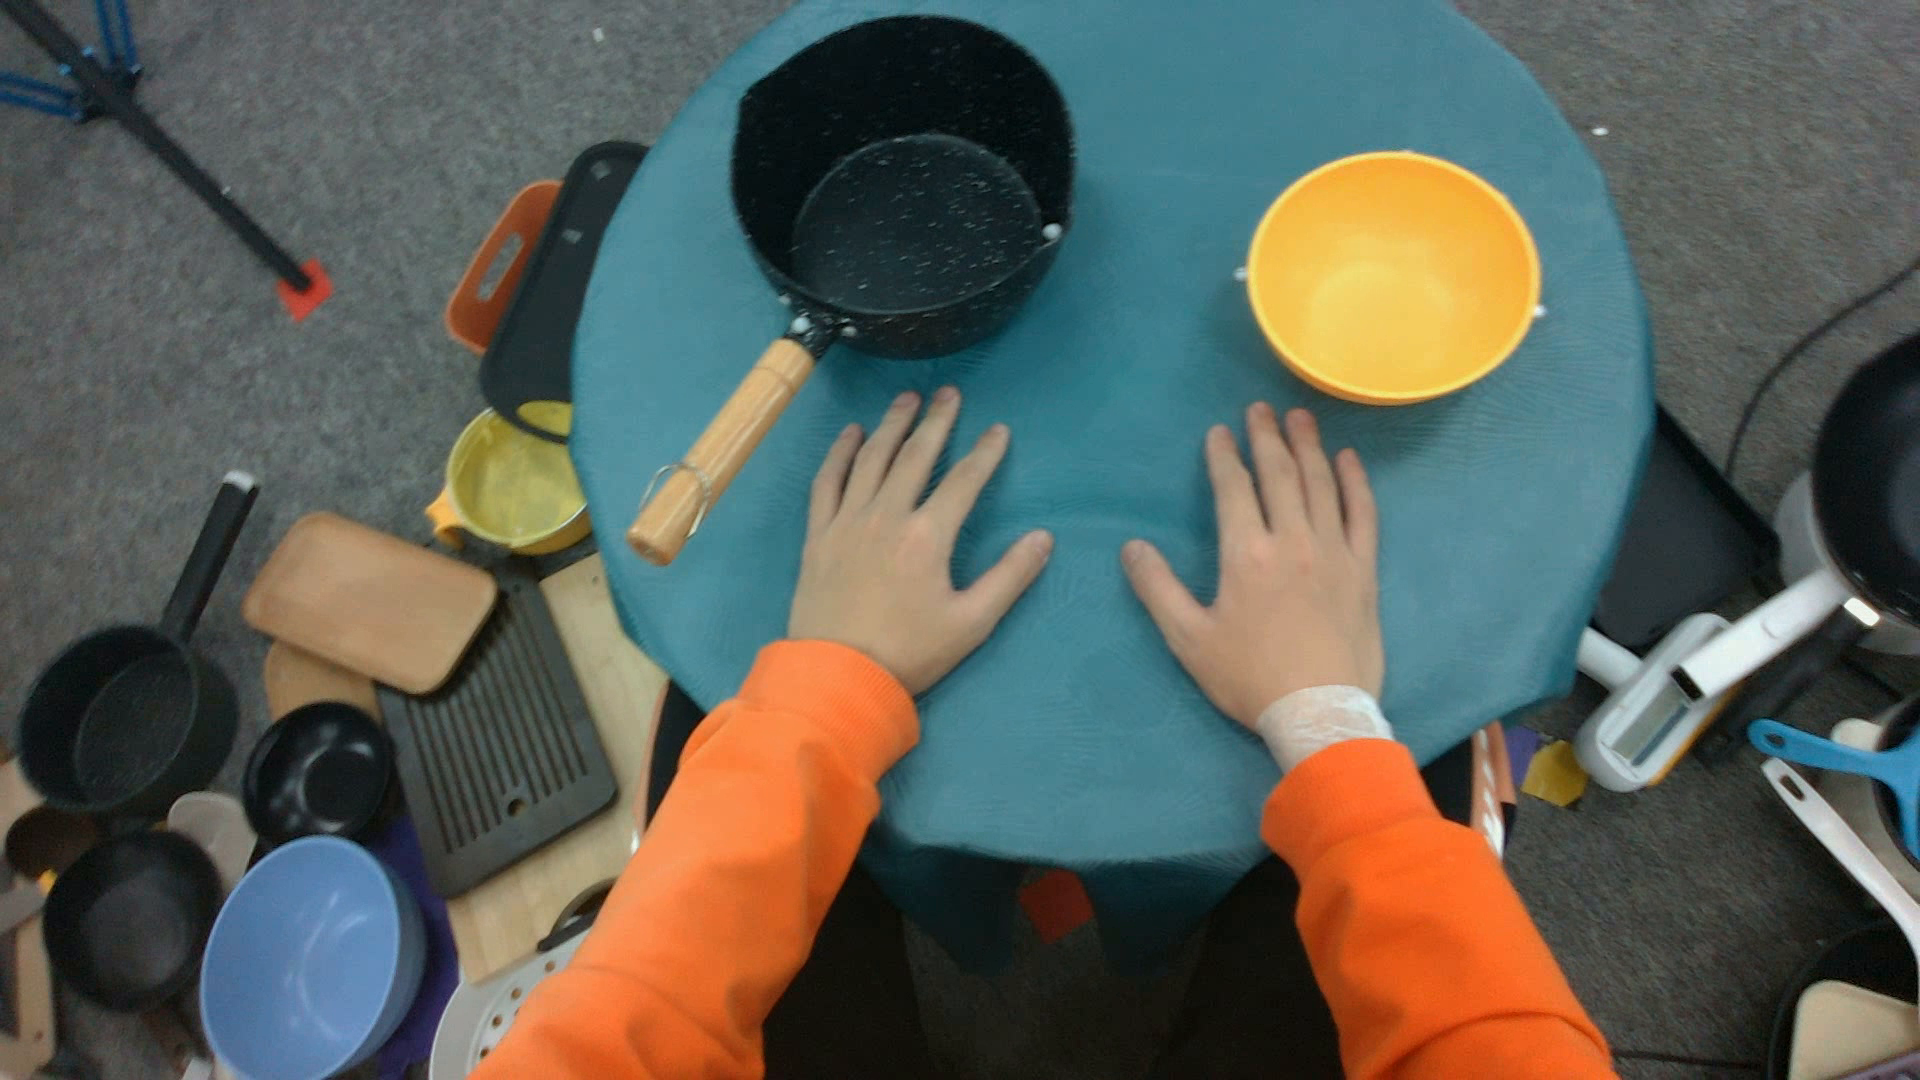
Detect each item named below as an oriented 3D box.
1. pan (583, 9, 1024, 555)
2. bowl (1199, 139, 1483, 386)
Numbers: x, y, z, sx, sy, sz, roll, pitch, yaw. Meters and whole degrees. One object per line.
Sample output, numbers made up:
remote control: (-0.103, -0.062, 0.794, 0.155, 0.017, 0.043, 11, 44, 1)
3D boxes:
pan: (-0.090, -0.126, 0.732, 0.207, 0.108, 0.344, 22, 72, 10)
bowl: (0.200, -0.139, 0.744, 0.145, 0.060, 0.146, -2, 70, 5)
